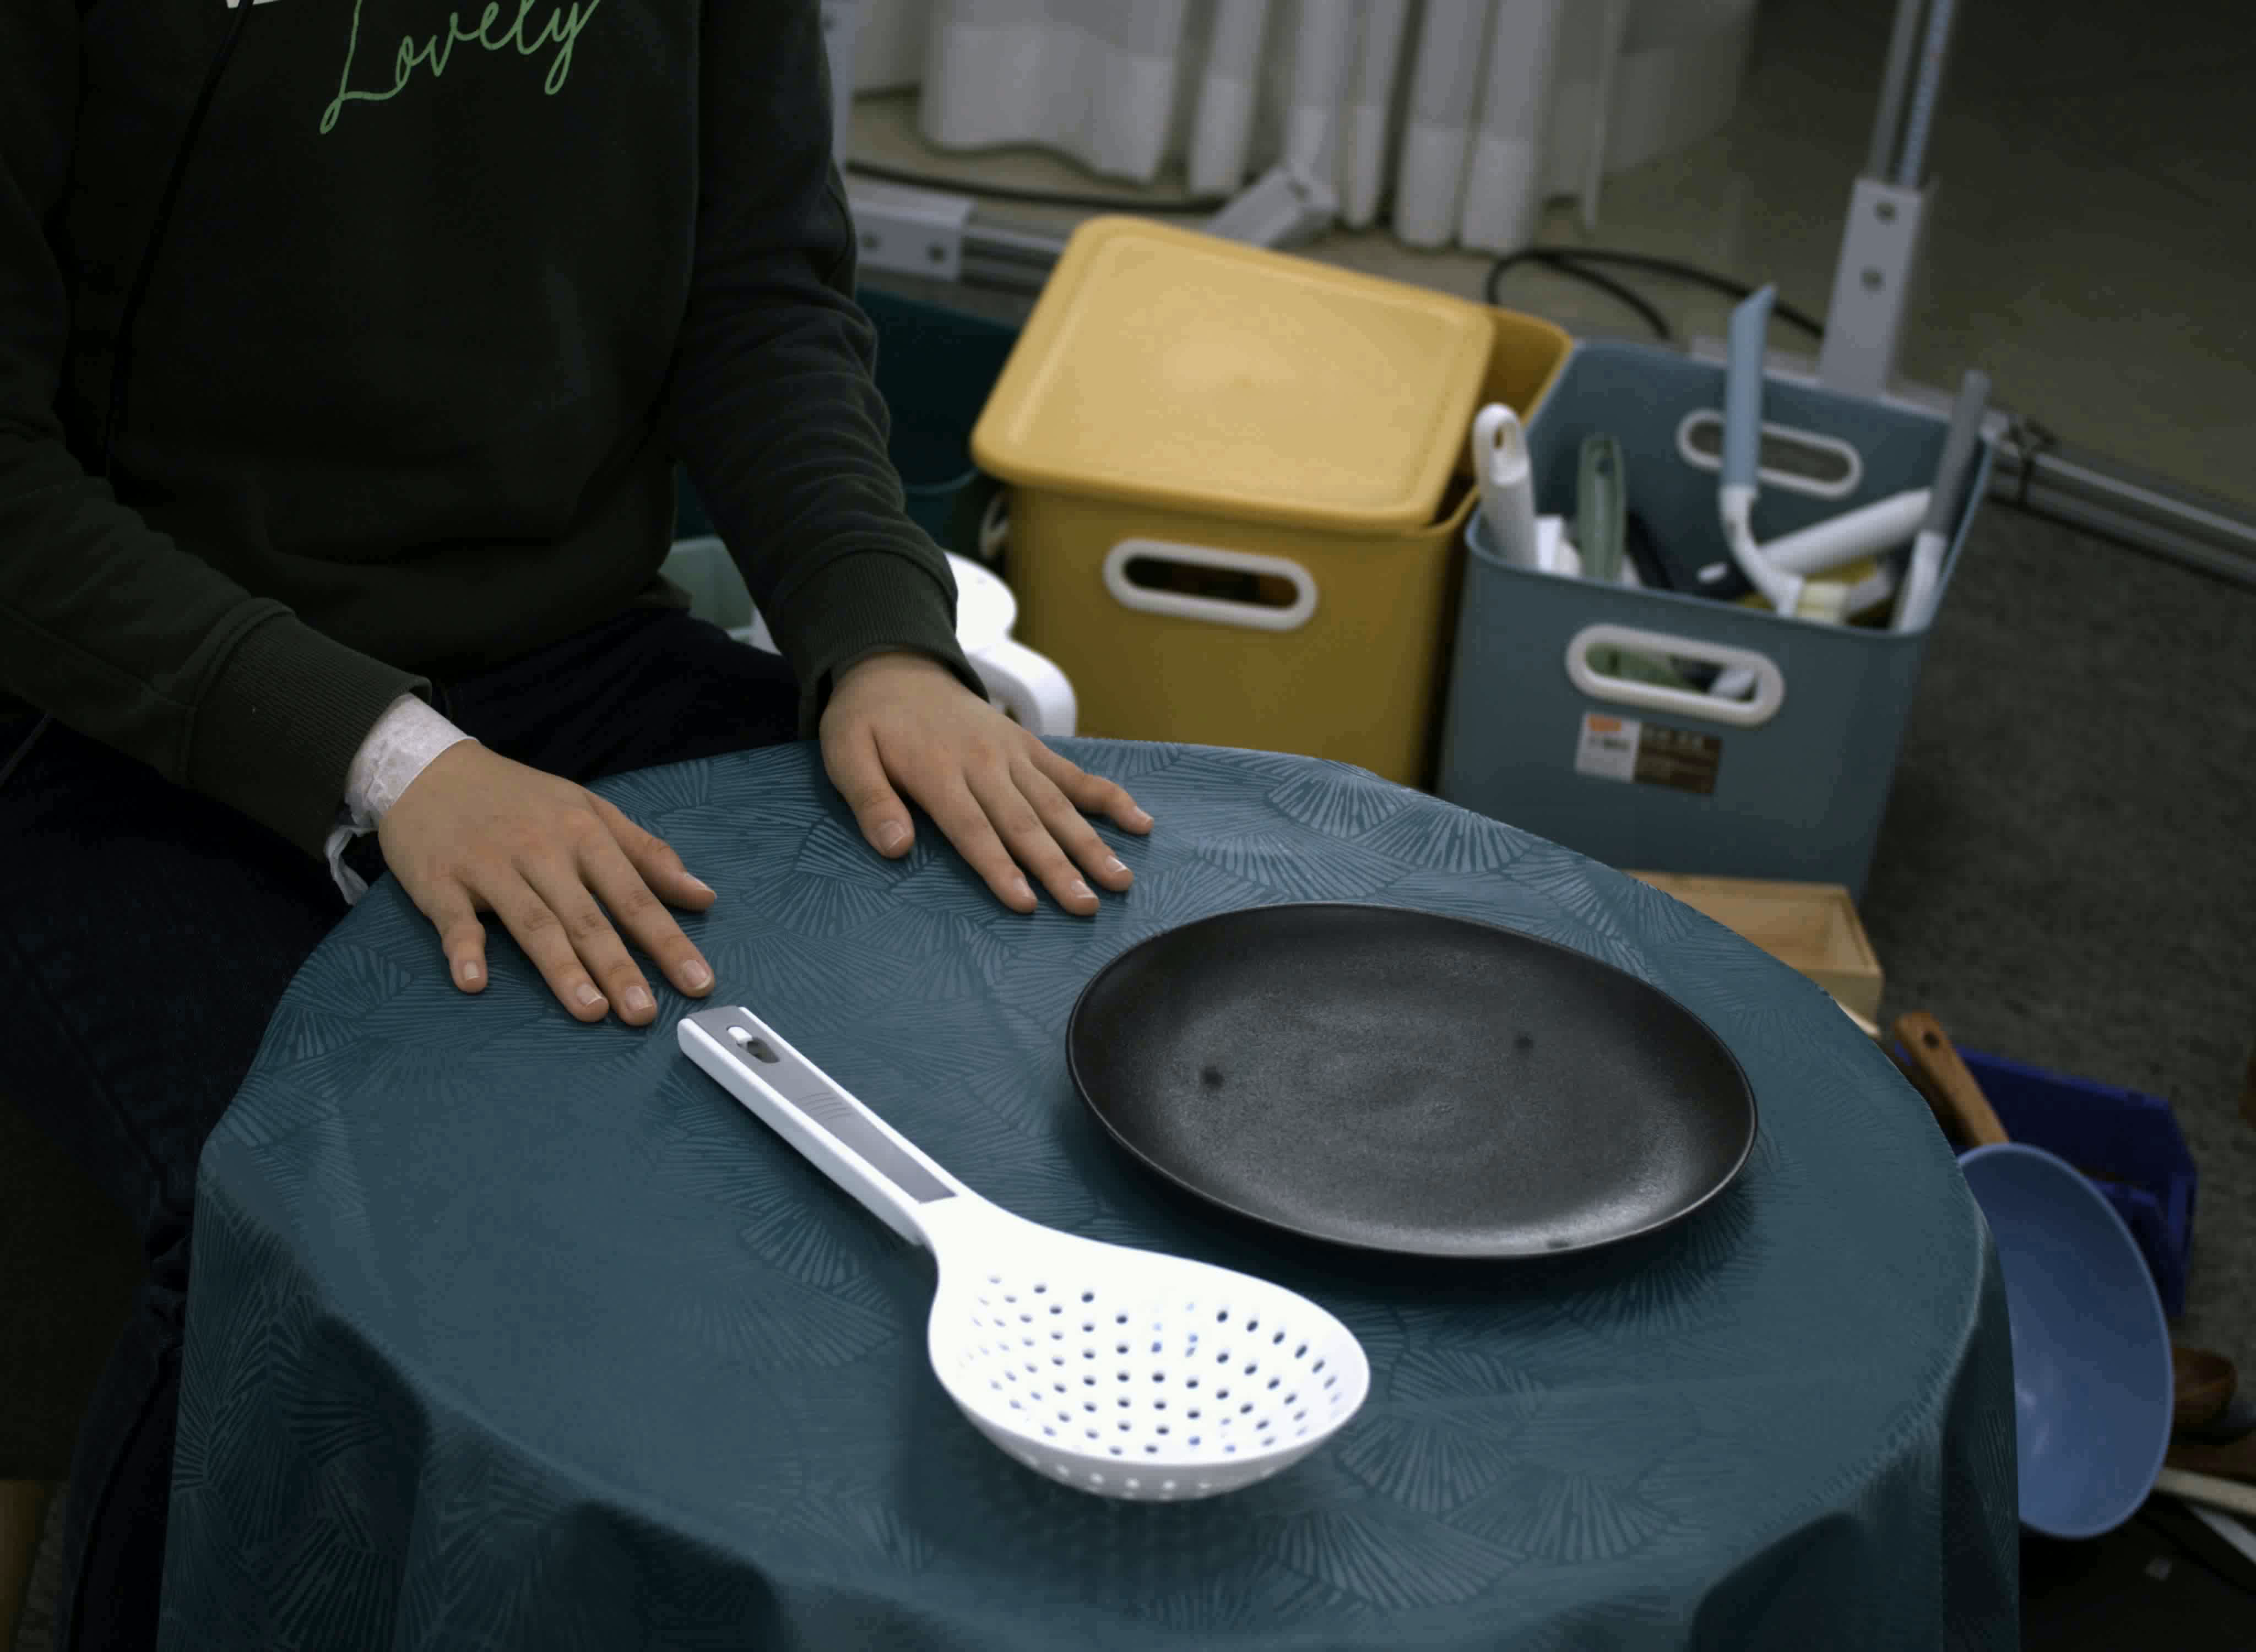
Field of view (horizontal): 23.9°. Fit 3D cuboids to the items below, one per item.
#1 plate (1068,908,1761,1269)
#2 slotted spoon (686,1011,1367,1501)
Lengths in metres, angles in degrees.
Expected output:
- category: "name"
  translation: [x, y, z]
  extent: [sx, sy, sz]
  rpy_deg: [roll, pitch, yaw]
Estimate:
- category: "plate"
  translation: [0.099, 0.095, 1.854]
  extent: [0.243, 0.023, 0.246]
  rpy_deg: [5, 27, -3]
- category: "slotted spoon"
  translation: [-0.052, 0.132, 1.721]
  extent: [0.135, 0.045, 0.353]
  rpy_deg: [-9, 29, -31]
